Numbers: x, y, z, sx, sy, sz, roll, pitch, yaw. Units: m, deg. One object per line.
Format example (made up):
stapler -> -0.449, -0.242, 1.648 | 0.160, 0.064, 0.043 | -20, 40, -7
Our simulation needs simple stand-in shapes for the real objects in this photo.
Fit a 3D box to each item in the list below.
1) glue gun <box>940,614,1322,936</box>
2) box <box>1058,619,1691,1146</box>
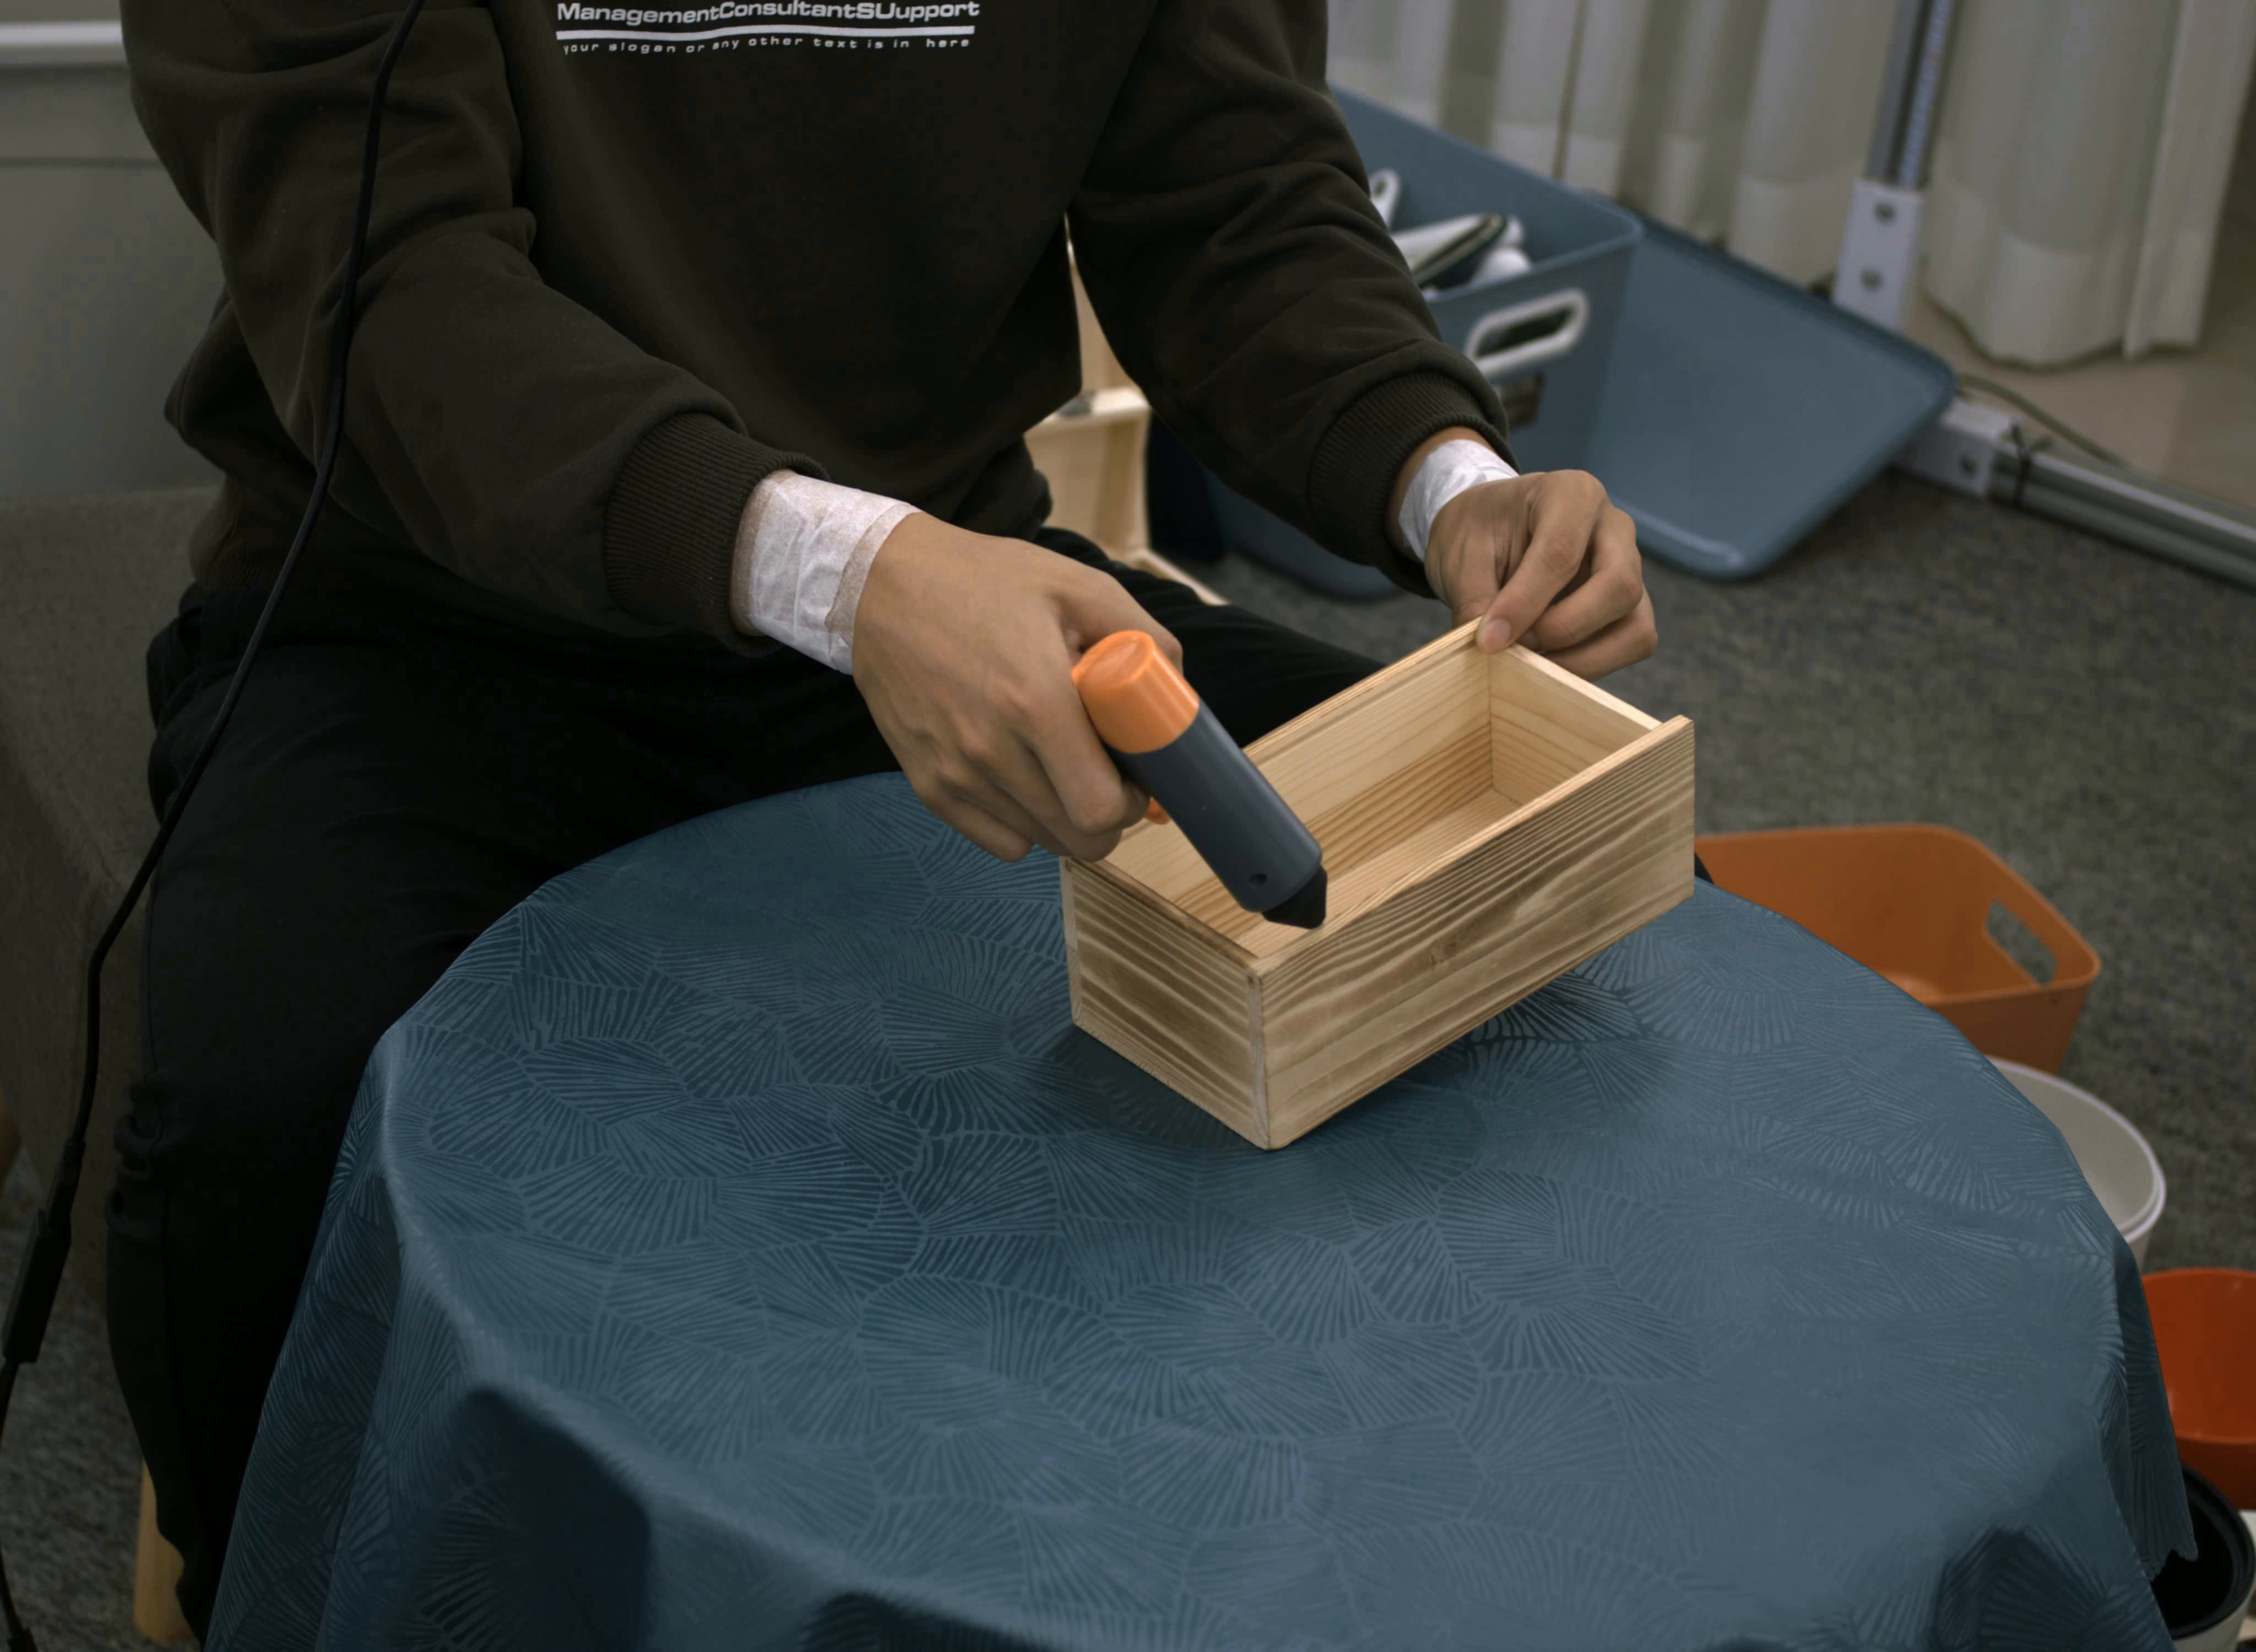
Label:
glue gun -> 0.003, -0.020, 1.835 | 0.041, 0.117, 0.141 | -43, 36, -20
box -> 0.091, 0.017, 1.907 | 0.211, 0.080, 0.108 | -29, 41, -31
